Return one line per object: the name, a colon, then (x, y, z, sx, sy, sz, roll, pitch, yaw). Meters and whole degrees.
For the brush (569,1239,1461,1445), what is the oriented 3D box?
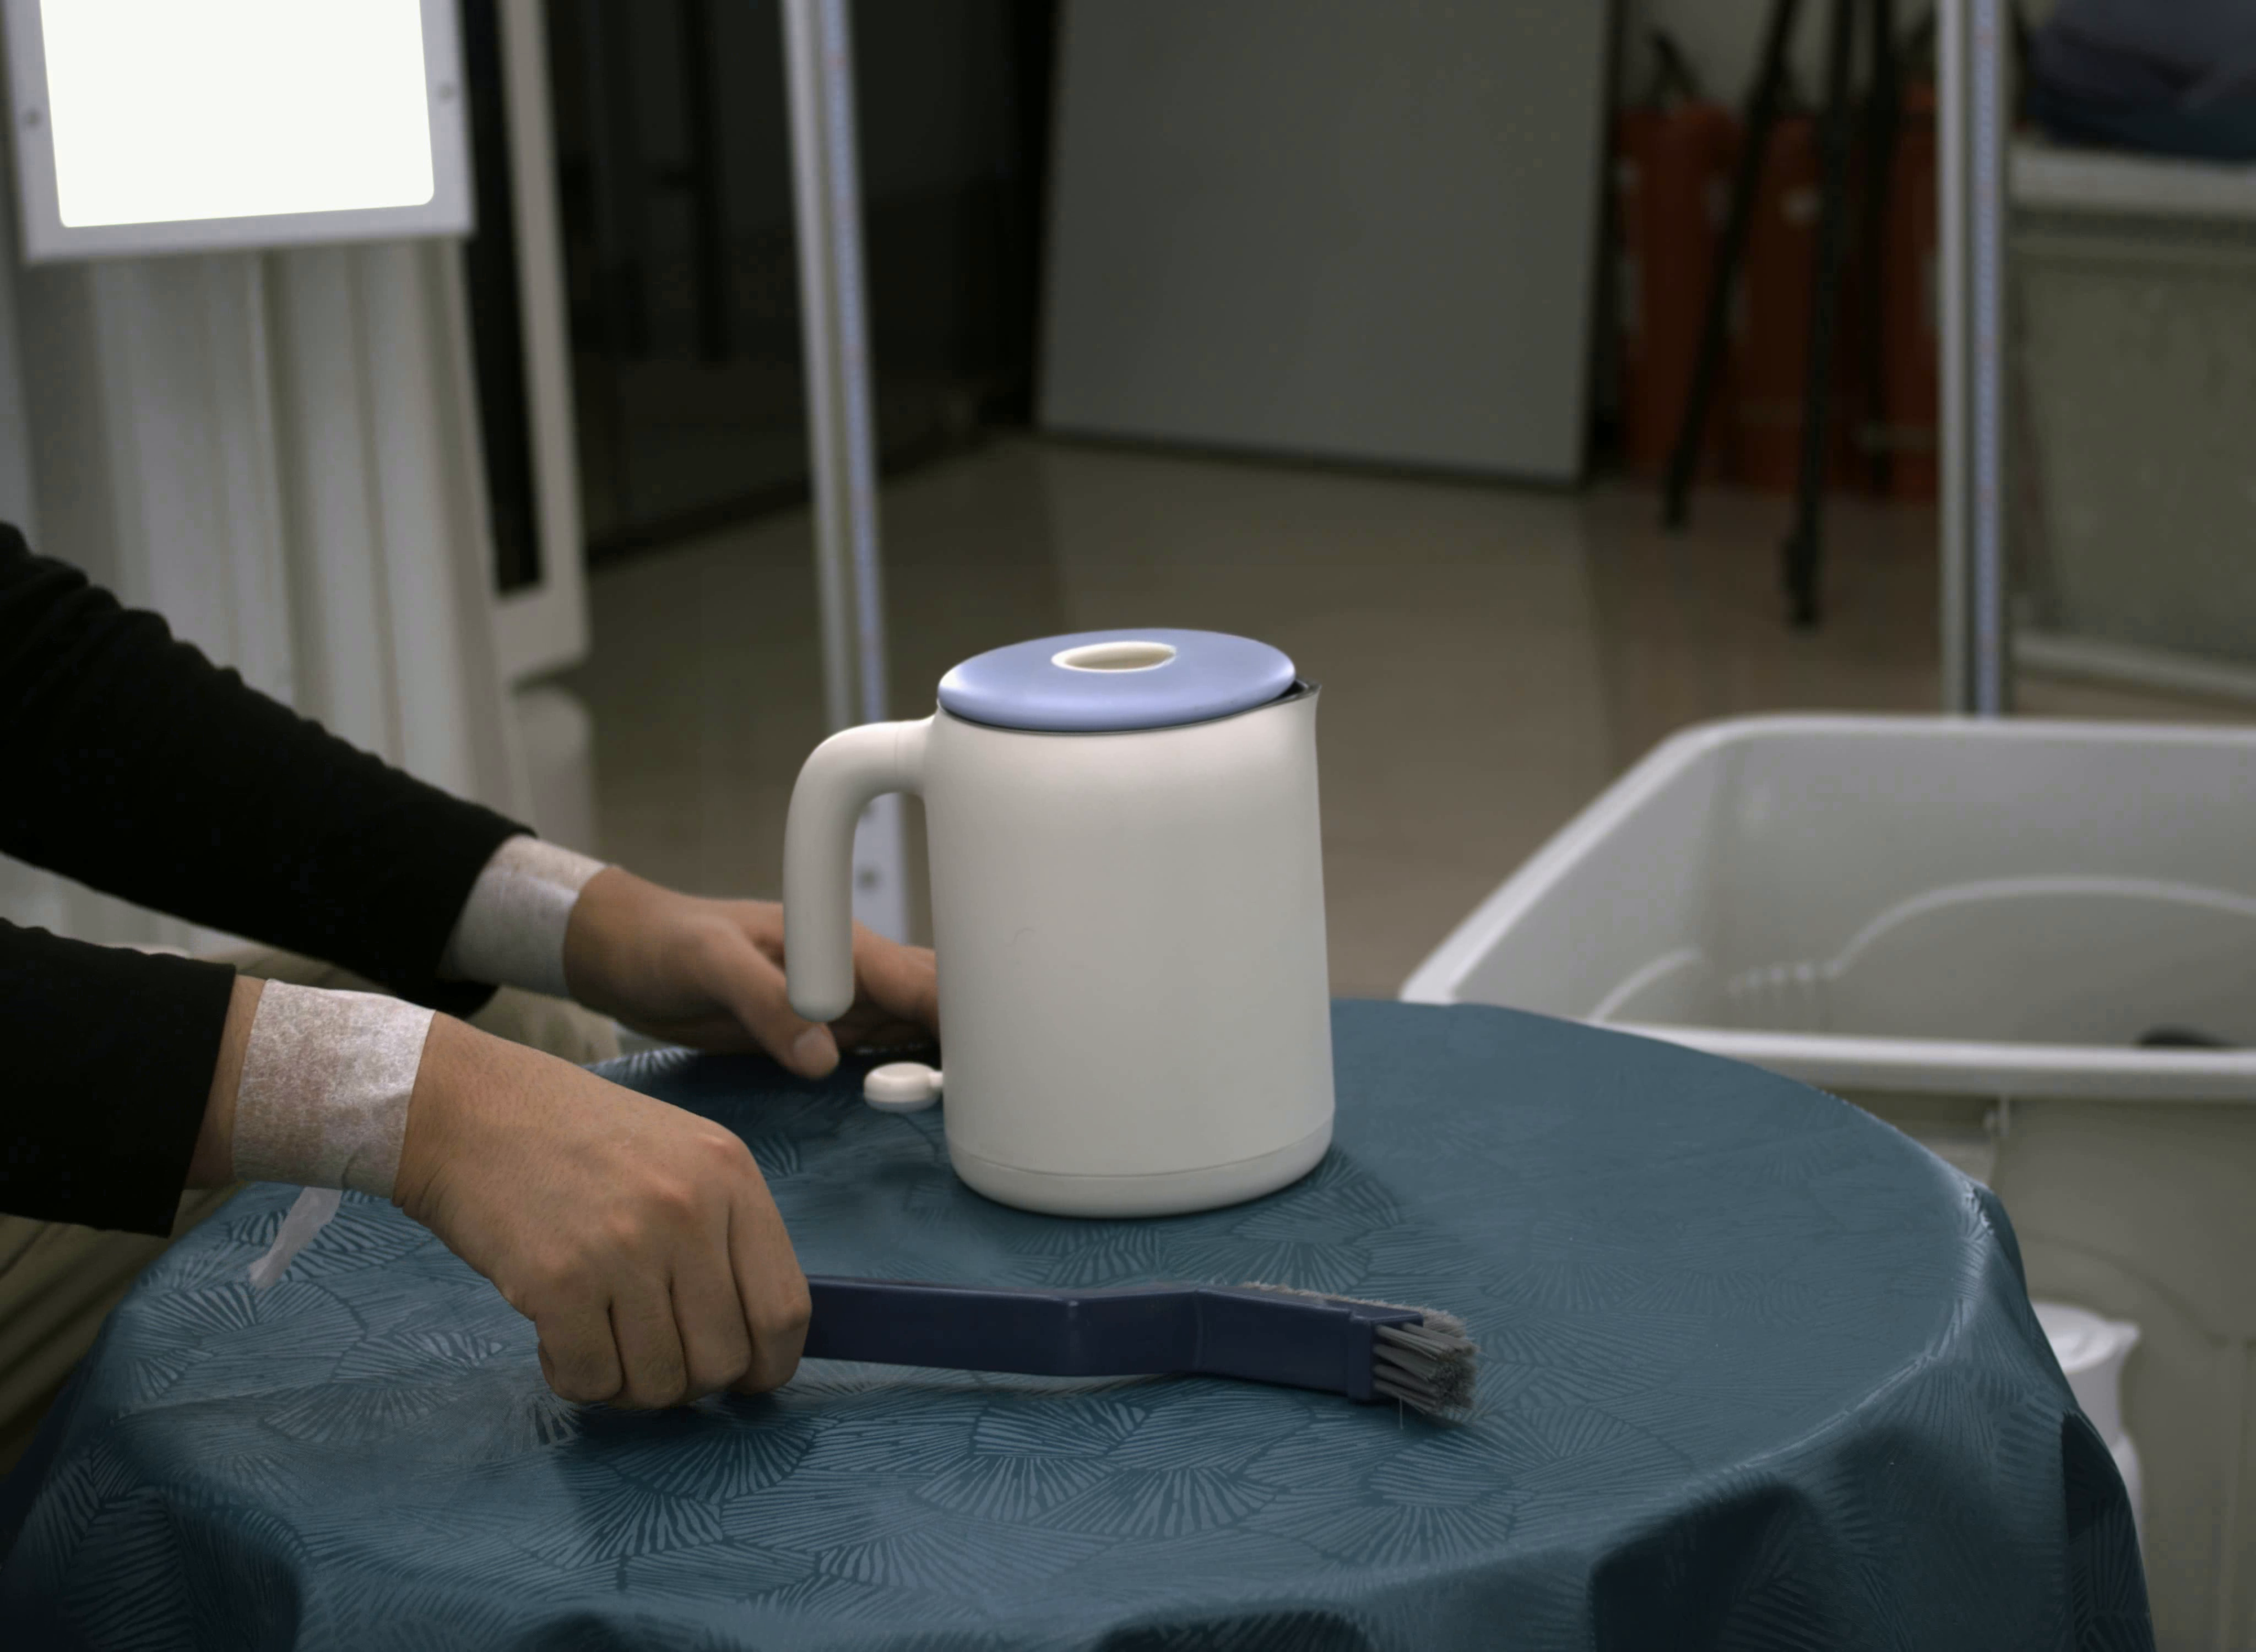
brush: (-0.037, 0.150, 1.584, 0.271, 0.034, 0.095, 1, 14, 7)

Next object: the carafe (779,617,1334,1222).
carafe: (-0.024, 0.031, 1.783, 0.190, 0.184, 0.131, -2, 13, 12)
